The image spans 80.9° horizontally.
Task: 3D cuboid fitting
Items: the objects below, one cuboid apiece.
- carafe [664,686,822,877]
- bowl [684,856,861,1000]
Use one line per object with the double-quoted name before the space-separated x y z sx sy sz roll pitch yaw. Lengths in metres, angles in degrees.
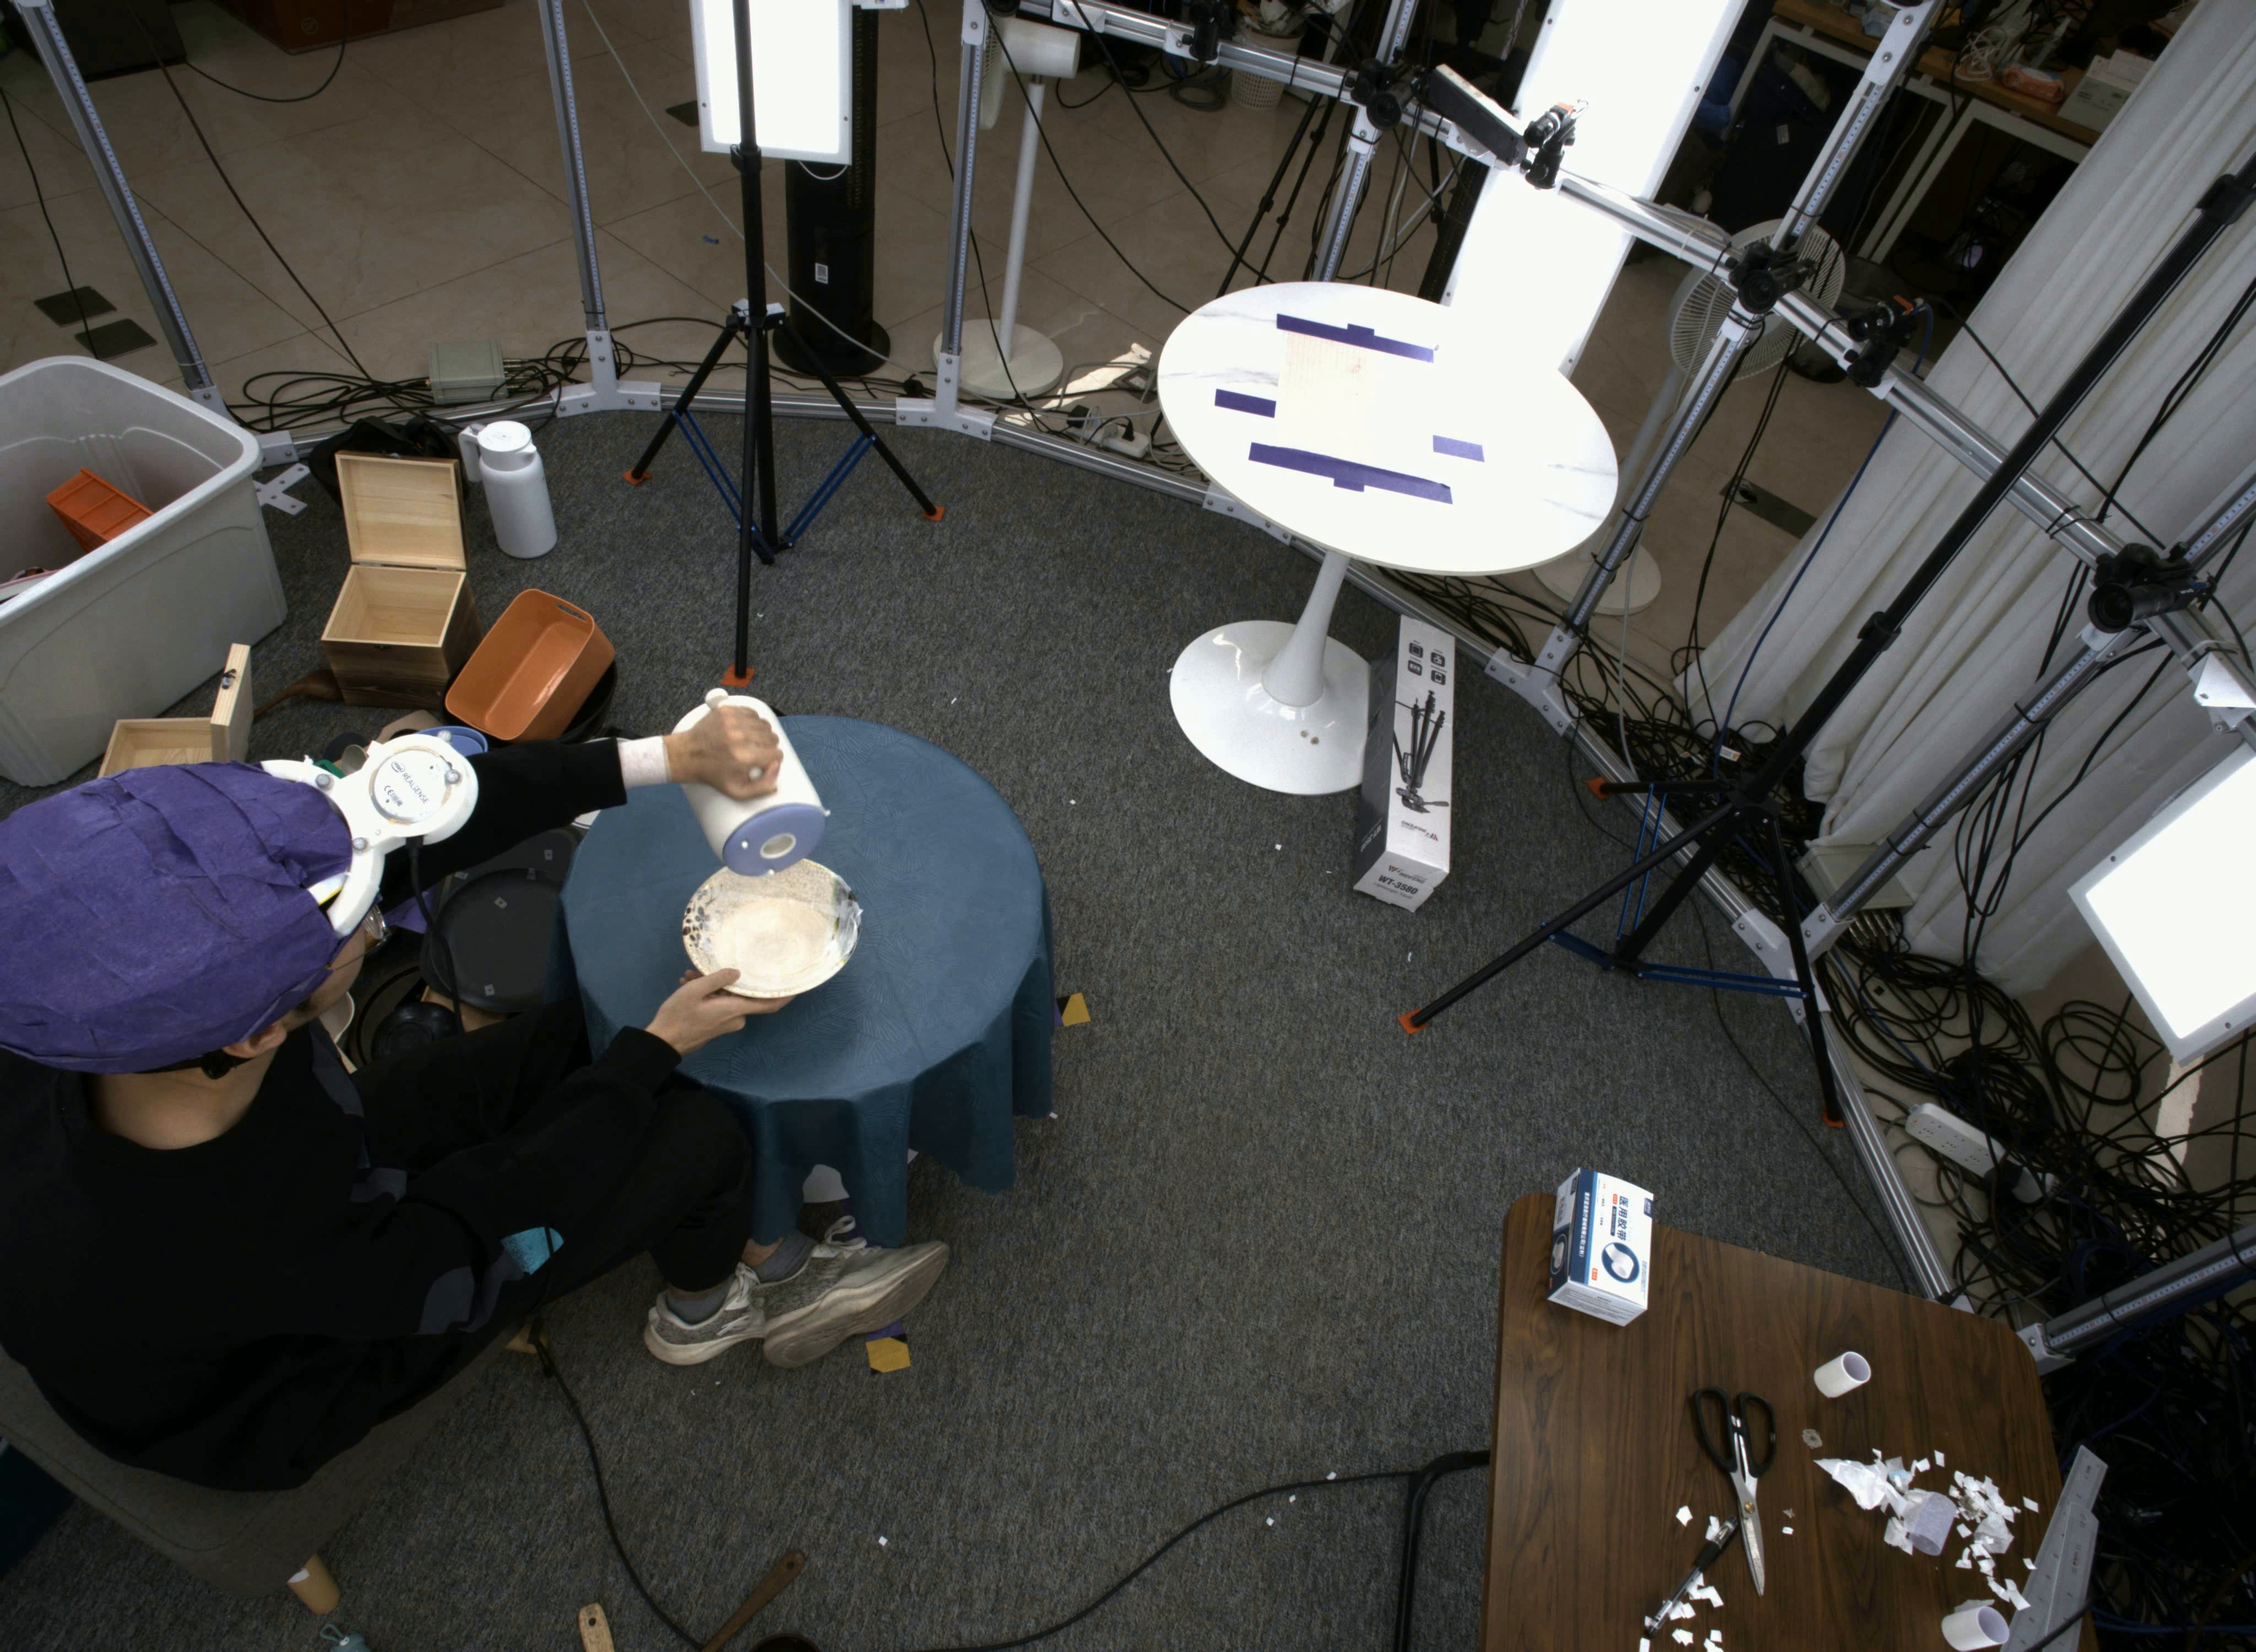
"carafe" -0.432 -0.062 1.433 0.132 0.195 0.178 -25 63 -20
"bowl" -0.417 0.135 1.538 0.203 0.080 0.200 5 53 -6
